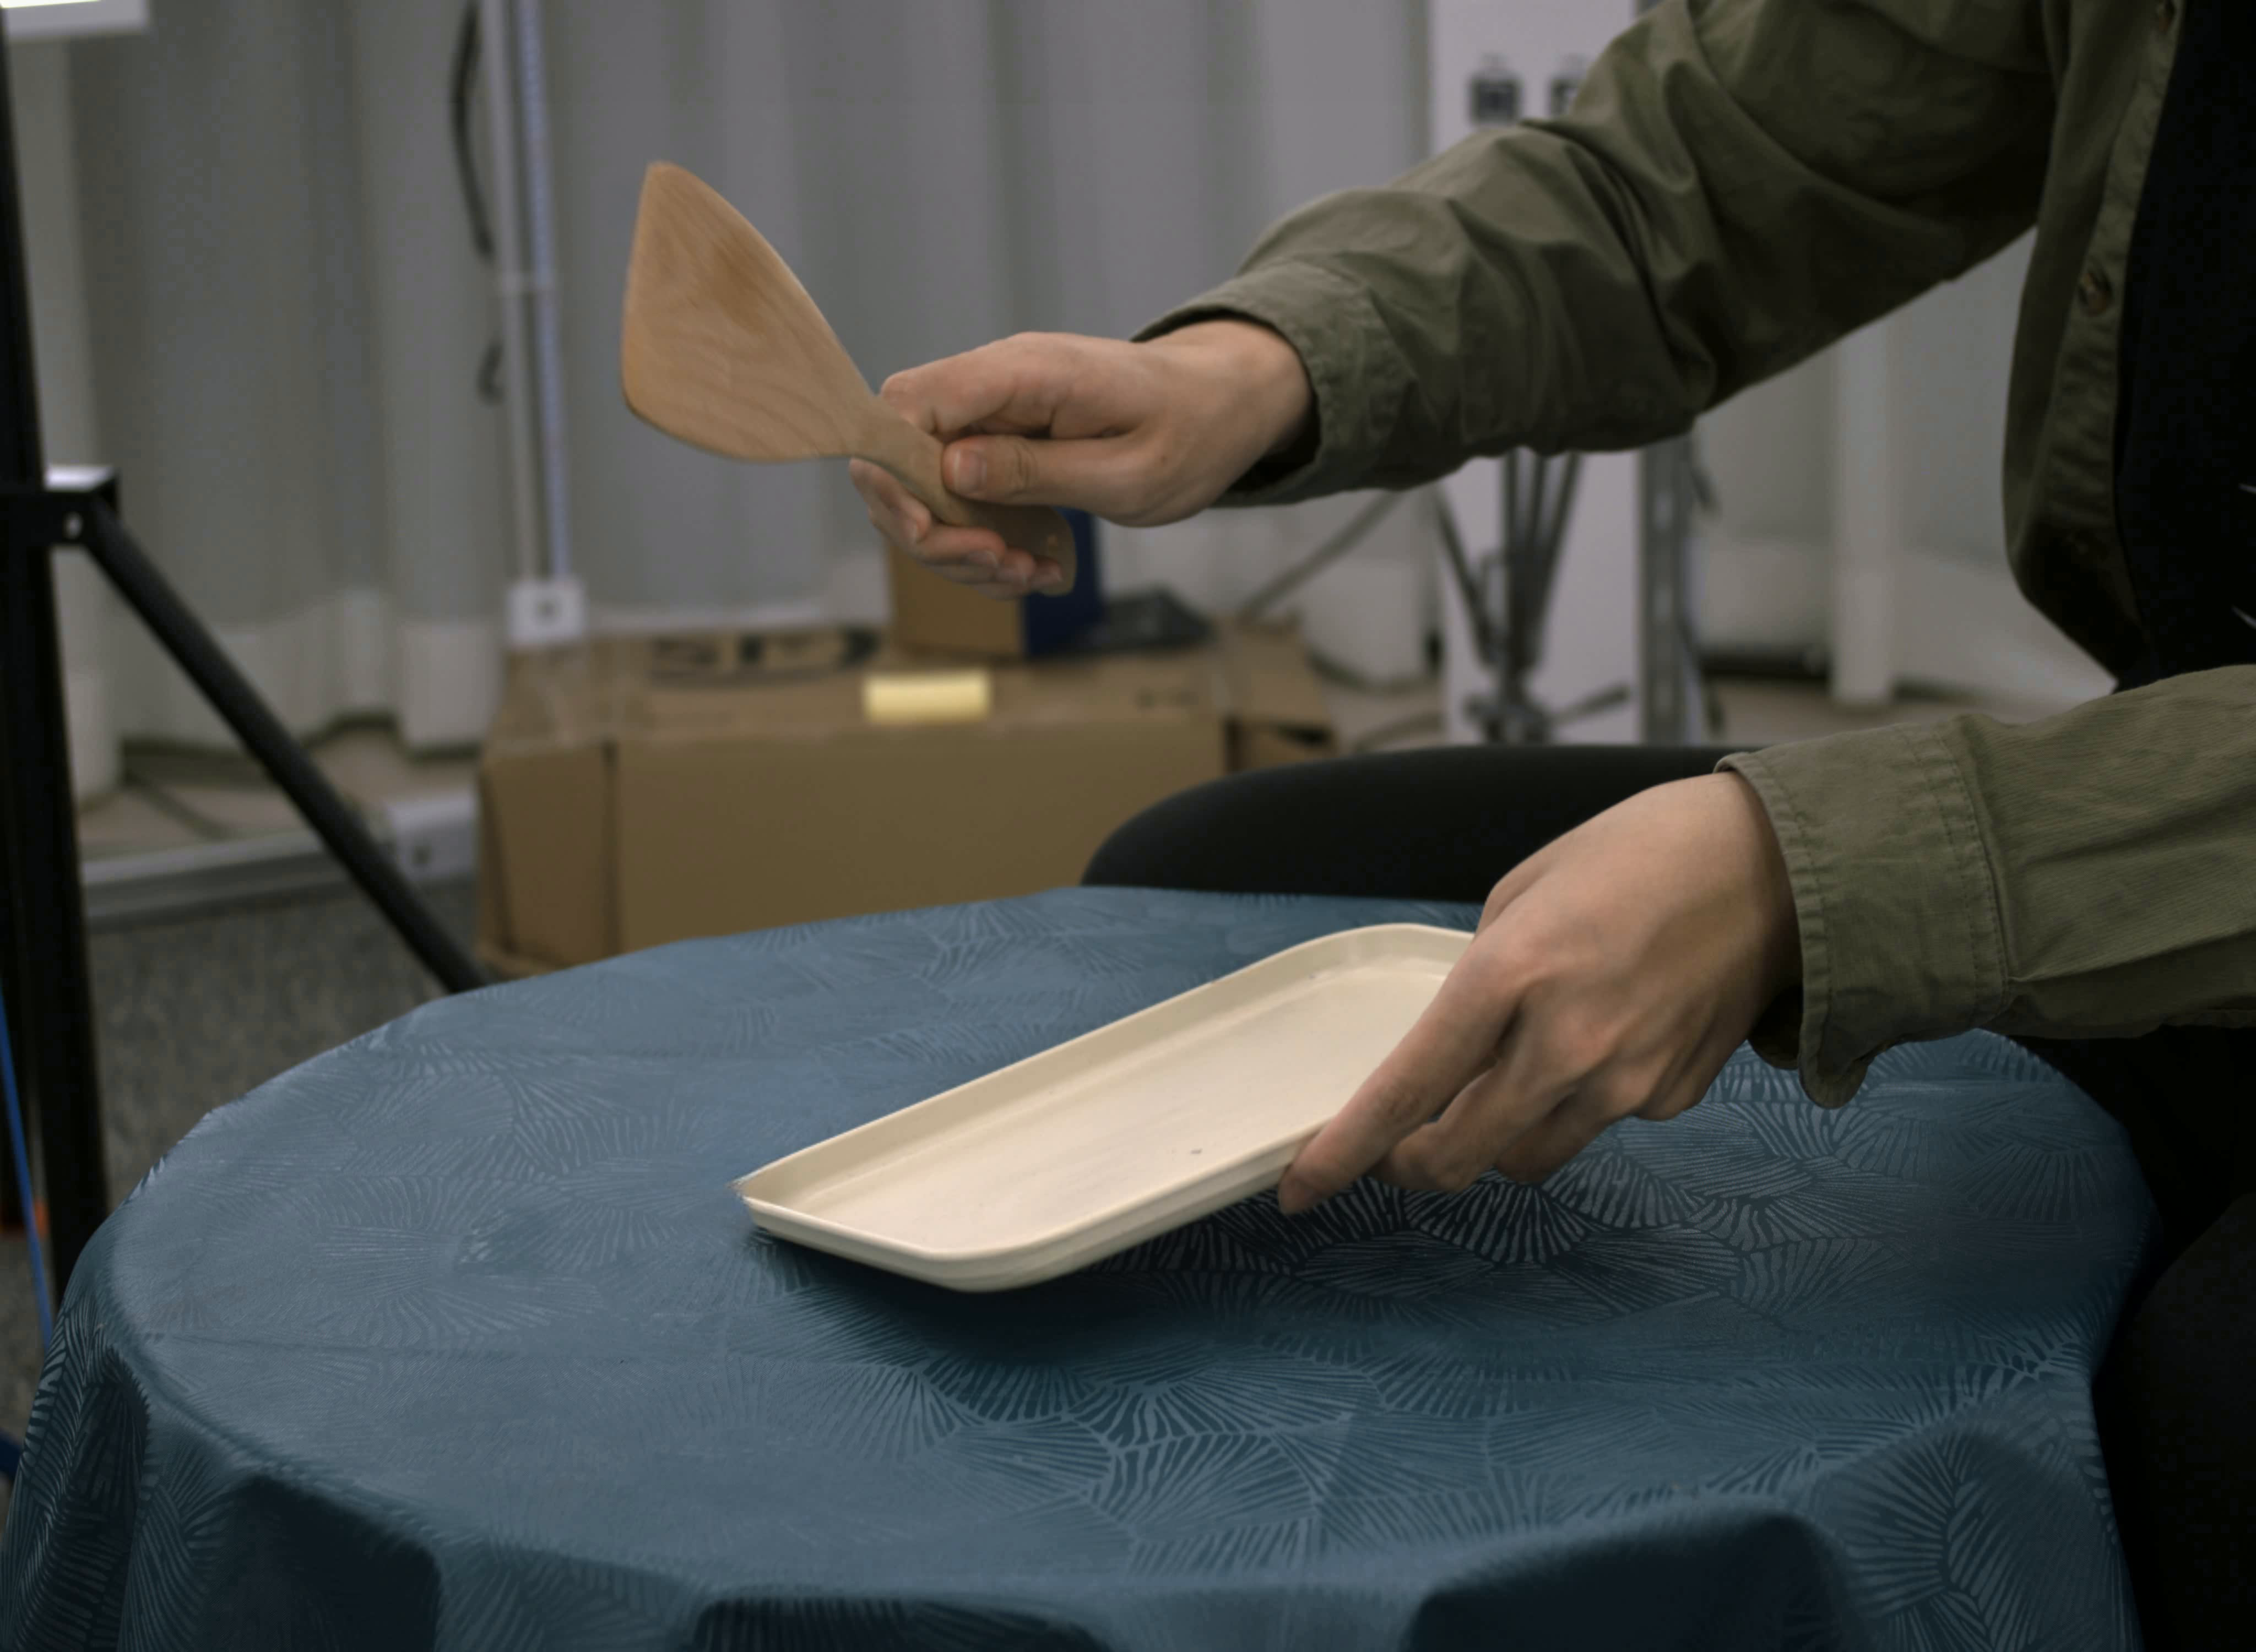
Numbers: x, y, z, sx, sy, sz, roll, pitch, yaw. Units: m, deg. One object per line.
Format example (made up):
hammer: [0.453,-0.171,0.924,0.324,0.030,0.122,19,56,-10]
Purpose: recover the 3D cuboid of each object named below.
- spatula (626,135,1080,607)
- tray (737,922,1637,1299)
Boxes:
spatula: [-0.077,-0.122,1.628,0.017,0.080,0.321,-5,-16,19]
tray: [0.018,0.081,1.532,0.235,0.017,0.175,-21,15,-25]
